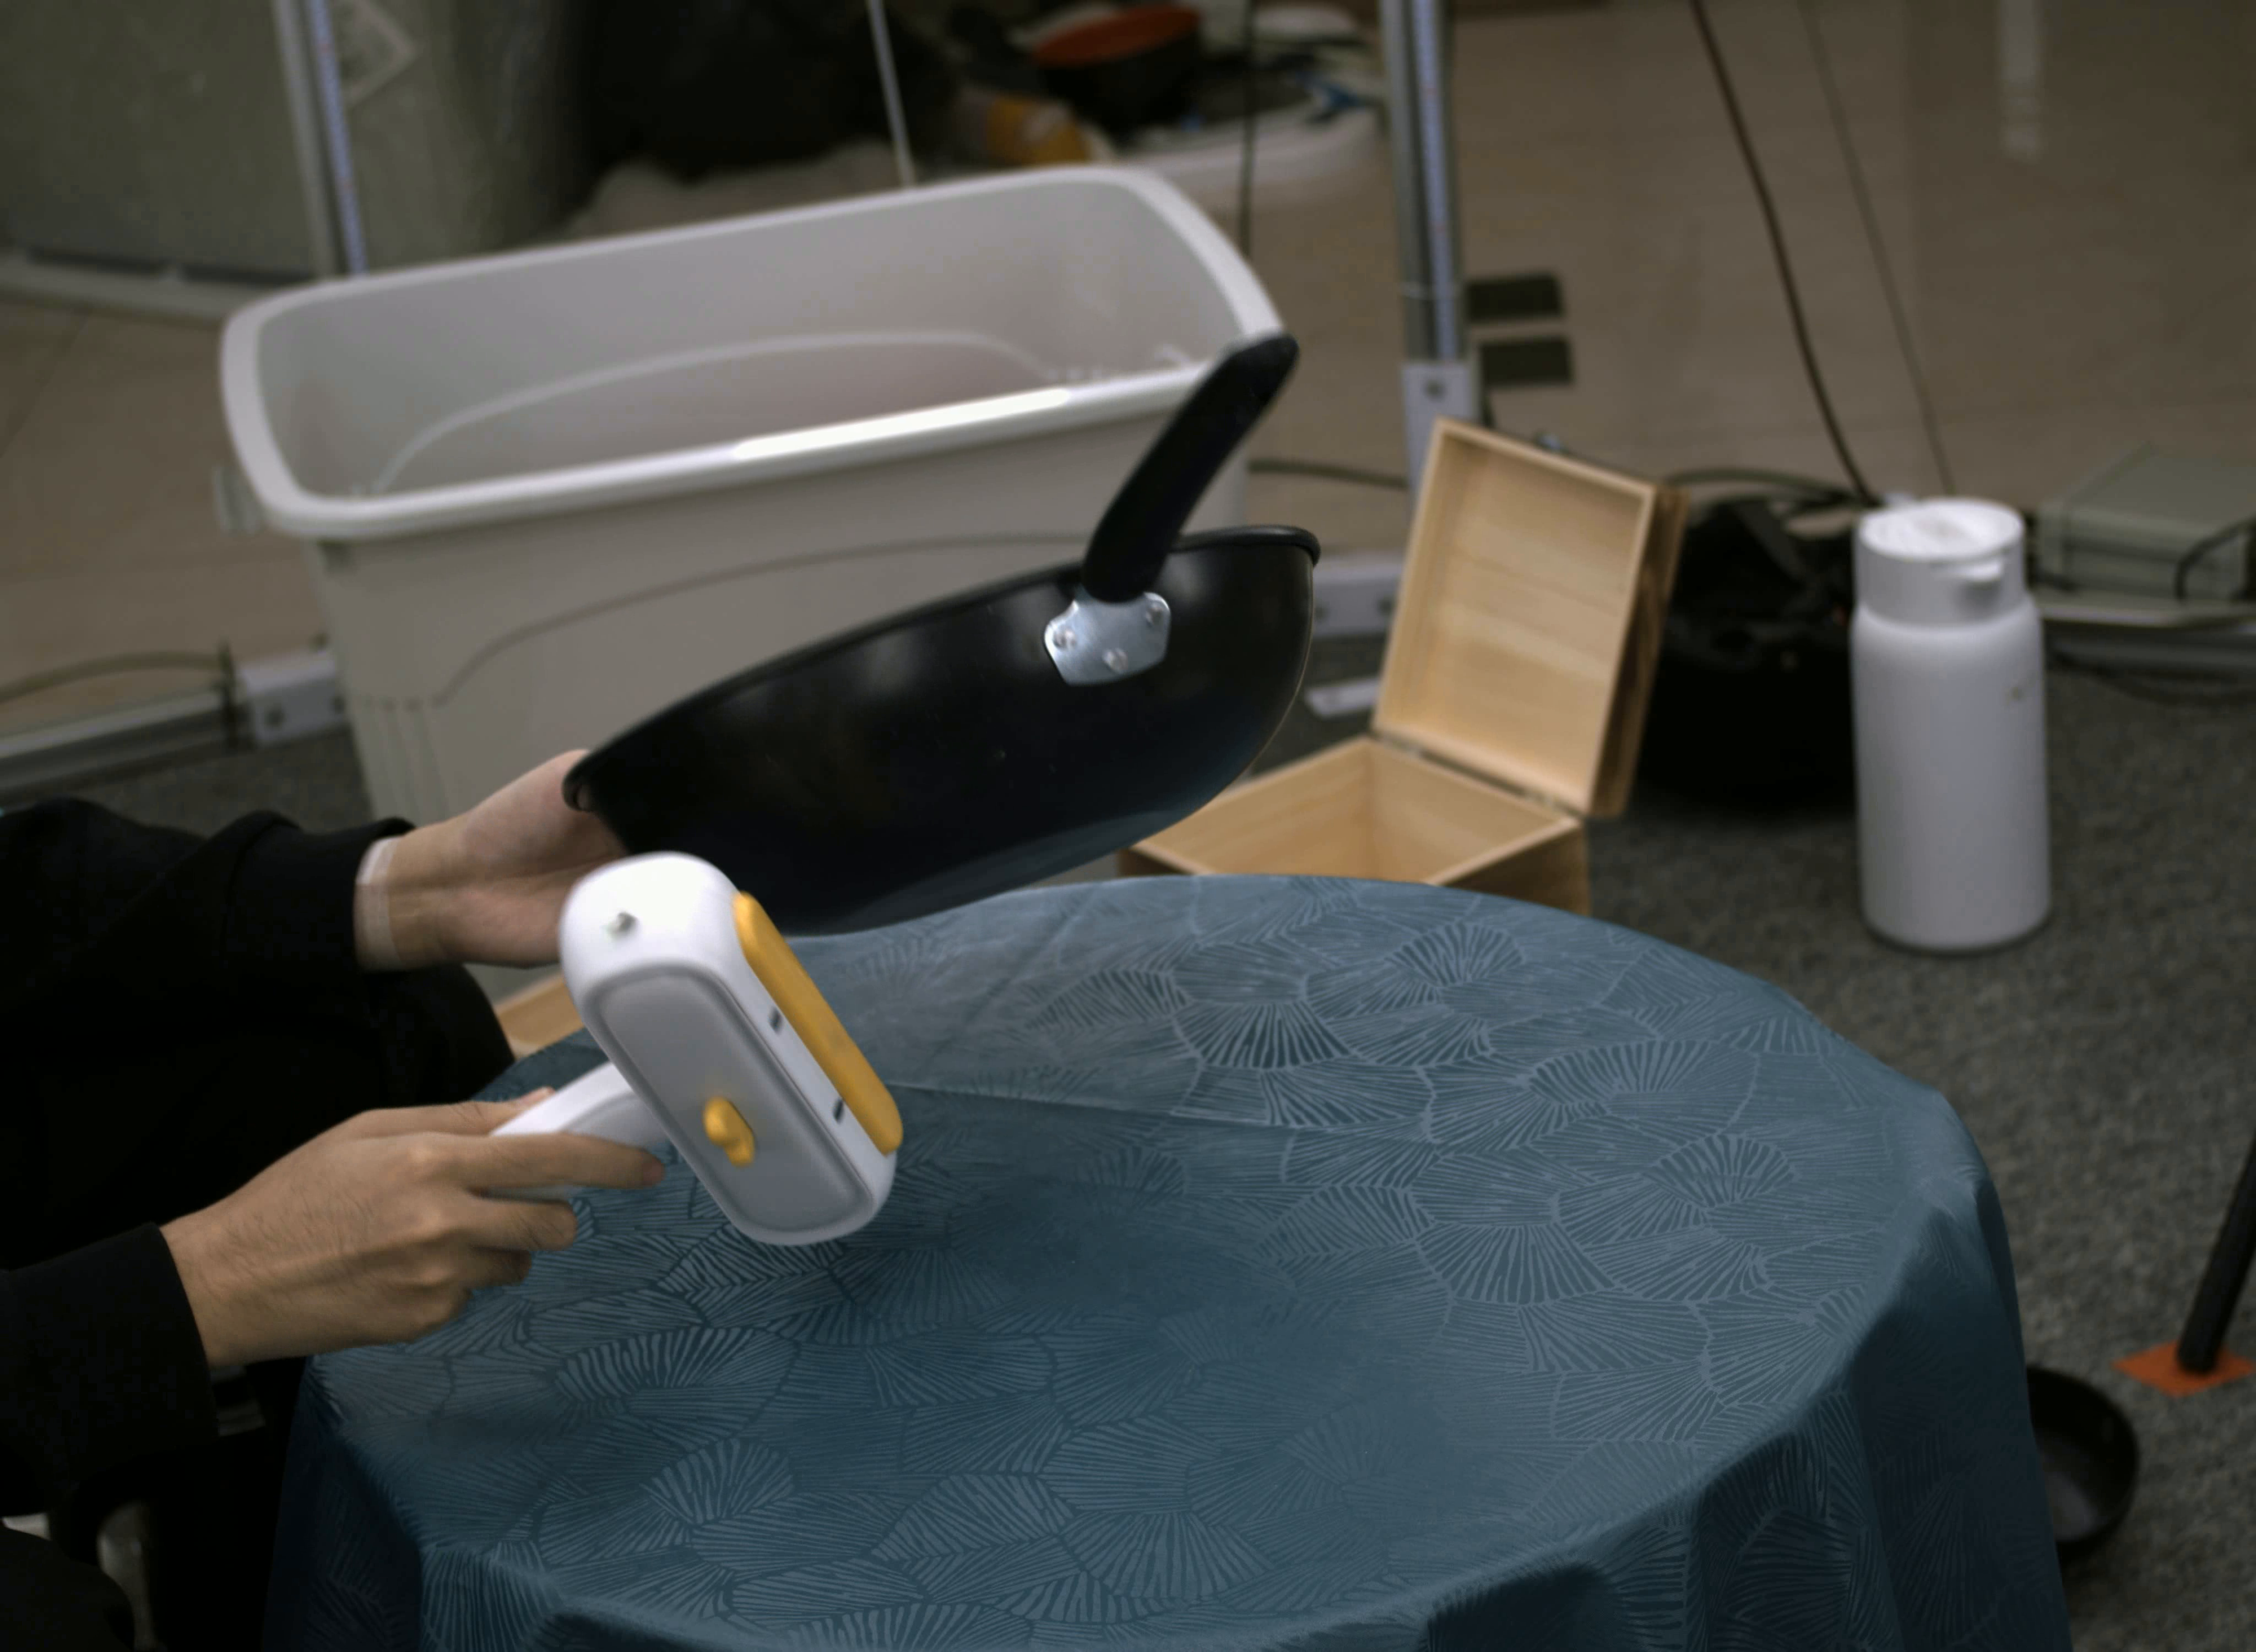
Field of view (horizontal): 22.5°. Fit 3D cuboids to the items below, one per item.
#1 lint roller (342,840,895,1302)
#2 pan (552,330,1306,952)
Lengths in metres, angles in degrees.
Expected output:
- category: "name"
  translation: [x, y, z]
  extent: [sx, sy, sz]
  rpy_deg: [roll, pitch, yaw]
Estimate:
- category: "lint roller"
  translation: [-0.197, 0.105, 2.022]
  extent: [0.193, 0.196, 0.073]
  rpy_deg: [-25, 50, 11]
- category: "pan"
  translation: [-0.034, -0.053, 2.113]
  extent: [0.308, 0.111, 0.480]
  rpy_deg: [-17, -8, -27]
